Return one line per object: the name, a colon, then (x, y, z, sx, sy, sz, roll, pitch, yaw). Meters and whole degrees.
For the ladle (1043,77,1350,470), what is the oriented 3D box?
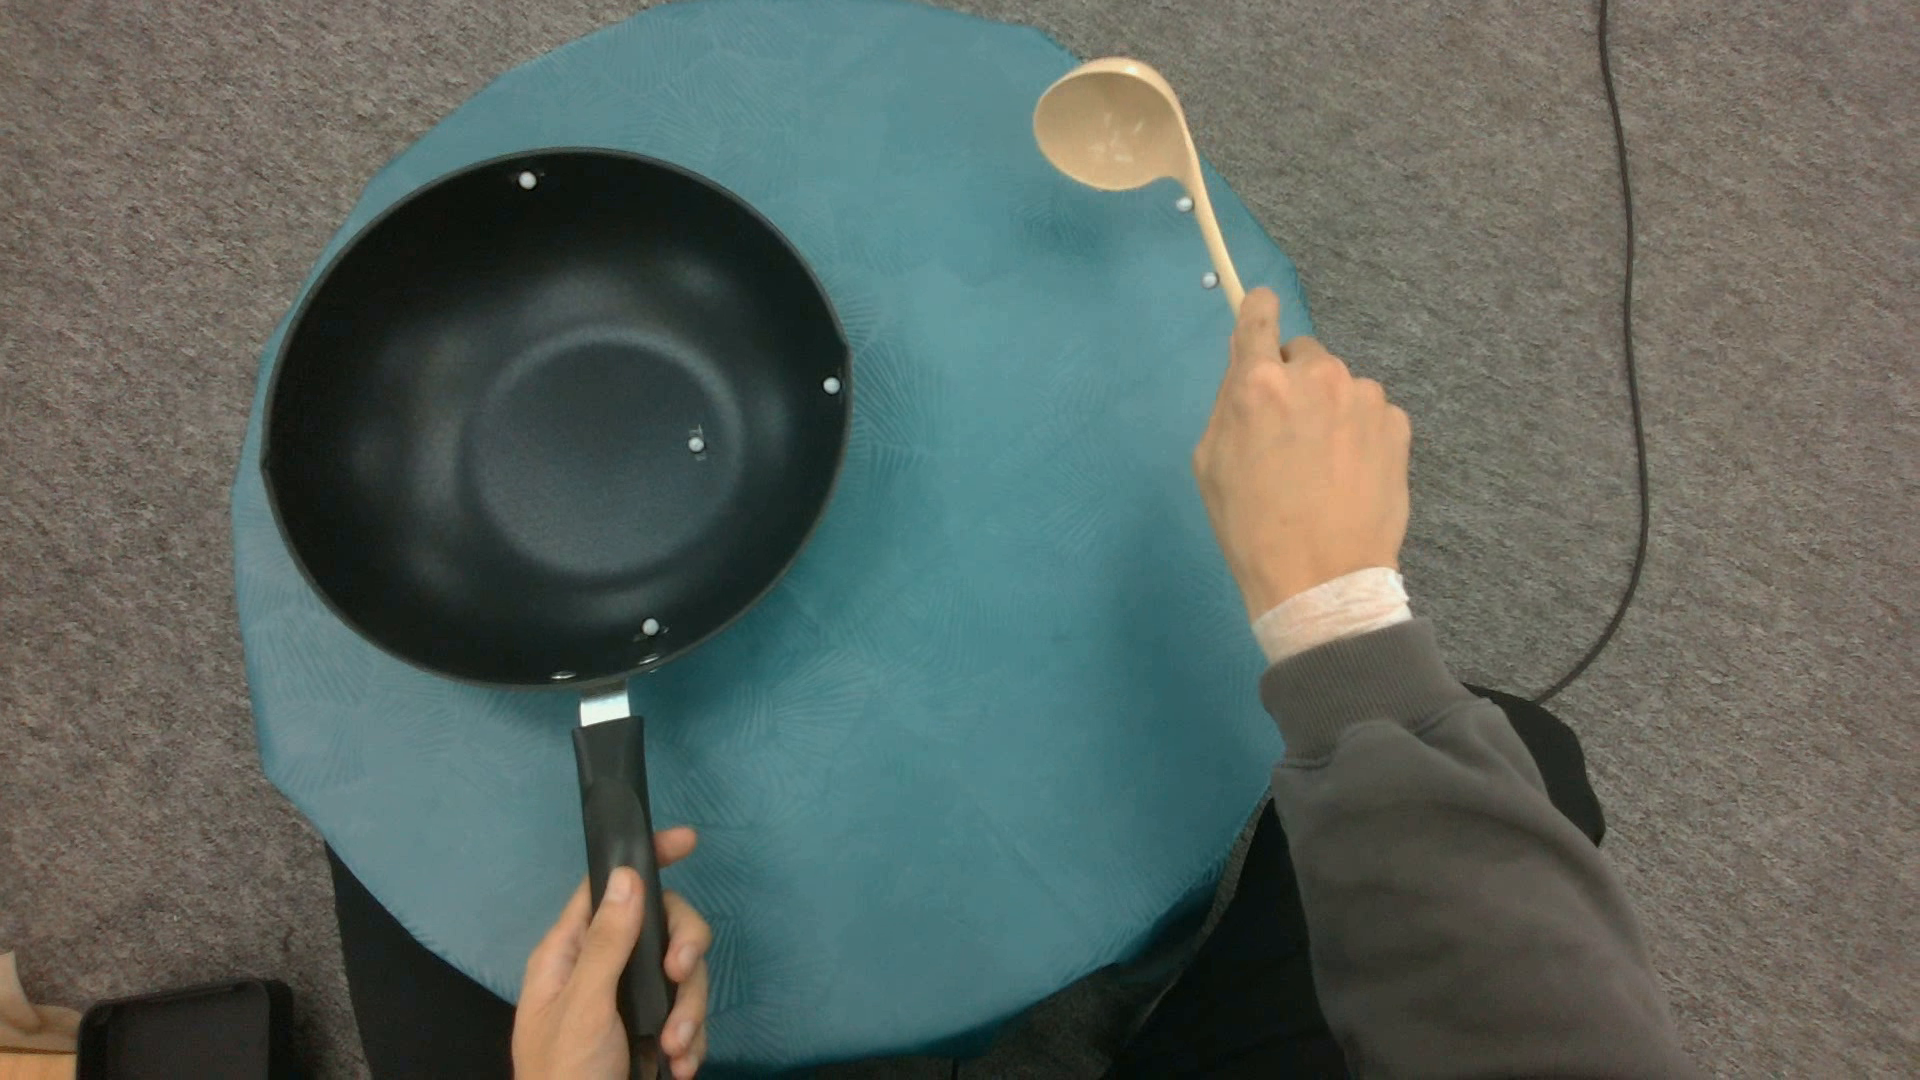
ladle: (0.104, -0.128, 0.656, 0.073, 0.072, 0.255, -3, 51, -17)

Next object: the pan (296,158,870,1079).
pan: (-0.170, 0.034, 0.699, 0.288, 0.086, 0.464, -11, 77, -2)
